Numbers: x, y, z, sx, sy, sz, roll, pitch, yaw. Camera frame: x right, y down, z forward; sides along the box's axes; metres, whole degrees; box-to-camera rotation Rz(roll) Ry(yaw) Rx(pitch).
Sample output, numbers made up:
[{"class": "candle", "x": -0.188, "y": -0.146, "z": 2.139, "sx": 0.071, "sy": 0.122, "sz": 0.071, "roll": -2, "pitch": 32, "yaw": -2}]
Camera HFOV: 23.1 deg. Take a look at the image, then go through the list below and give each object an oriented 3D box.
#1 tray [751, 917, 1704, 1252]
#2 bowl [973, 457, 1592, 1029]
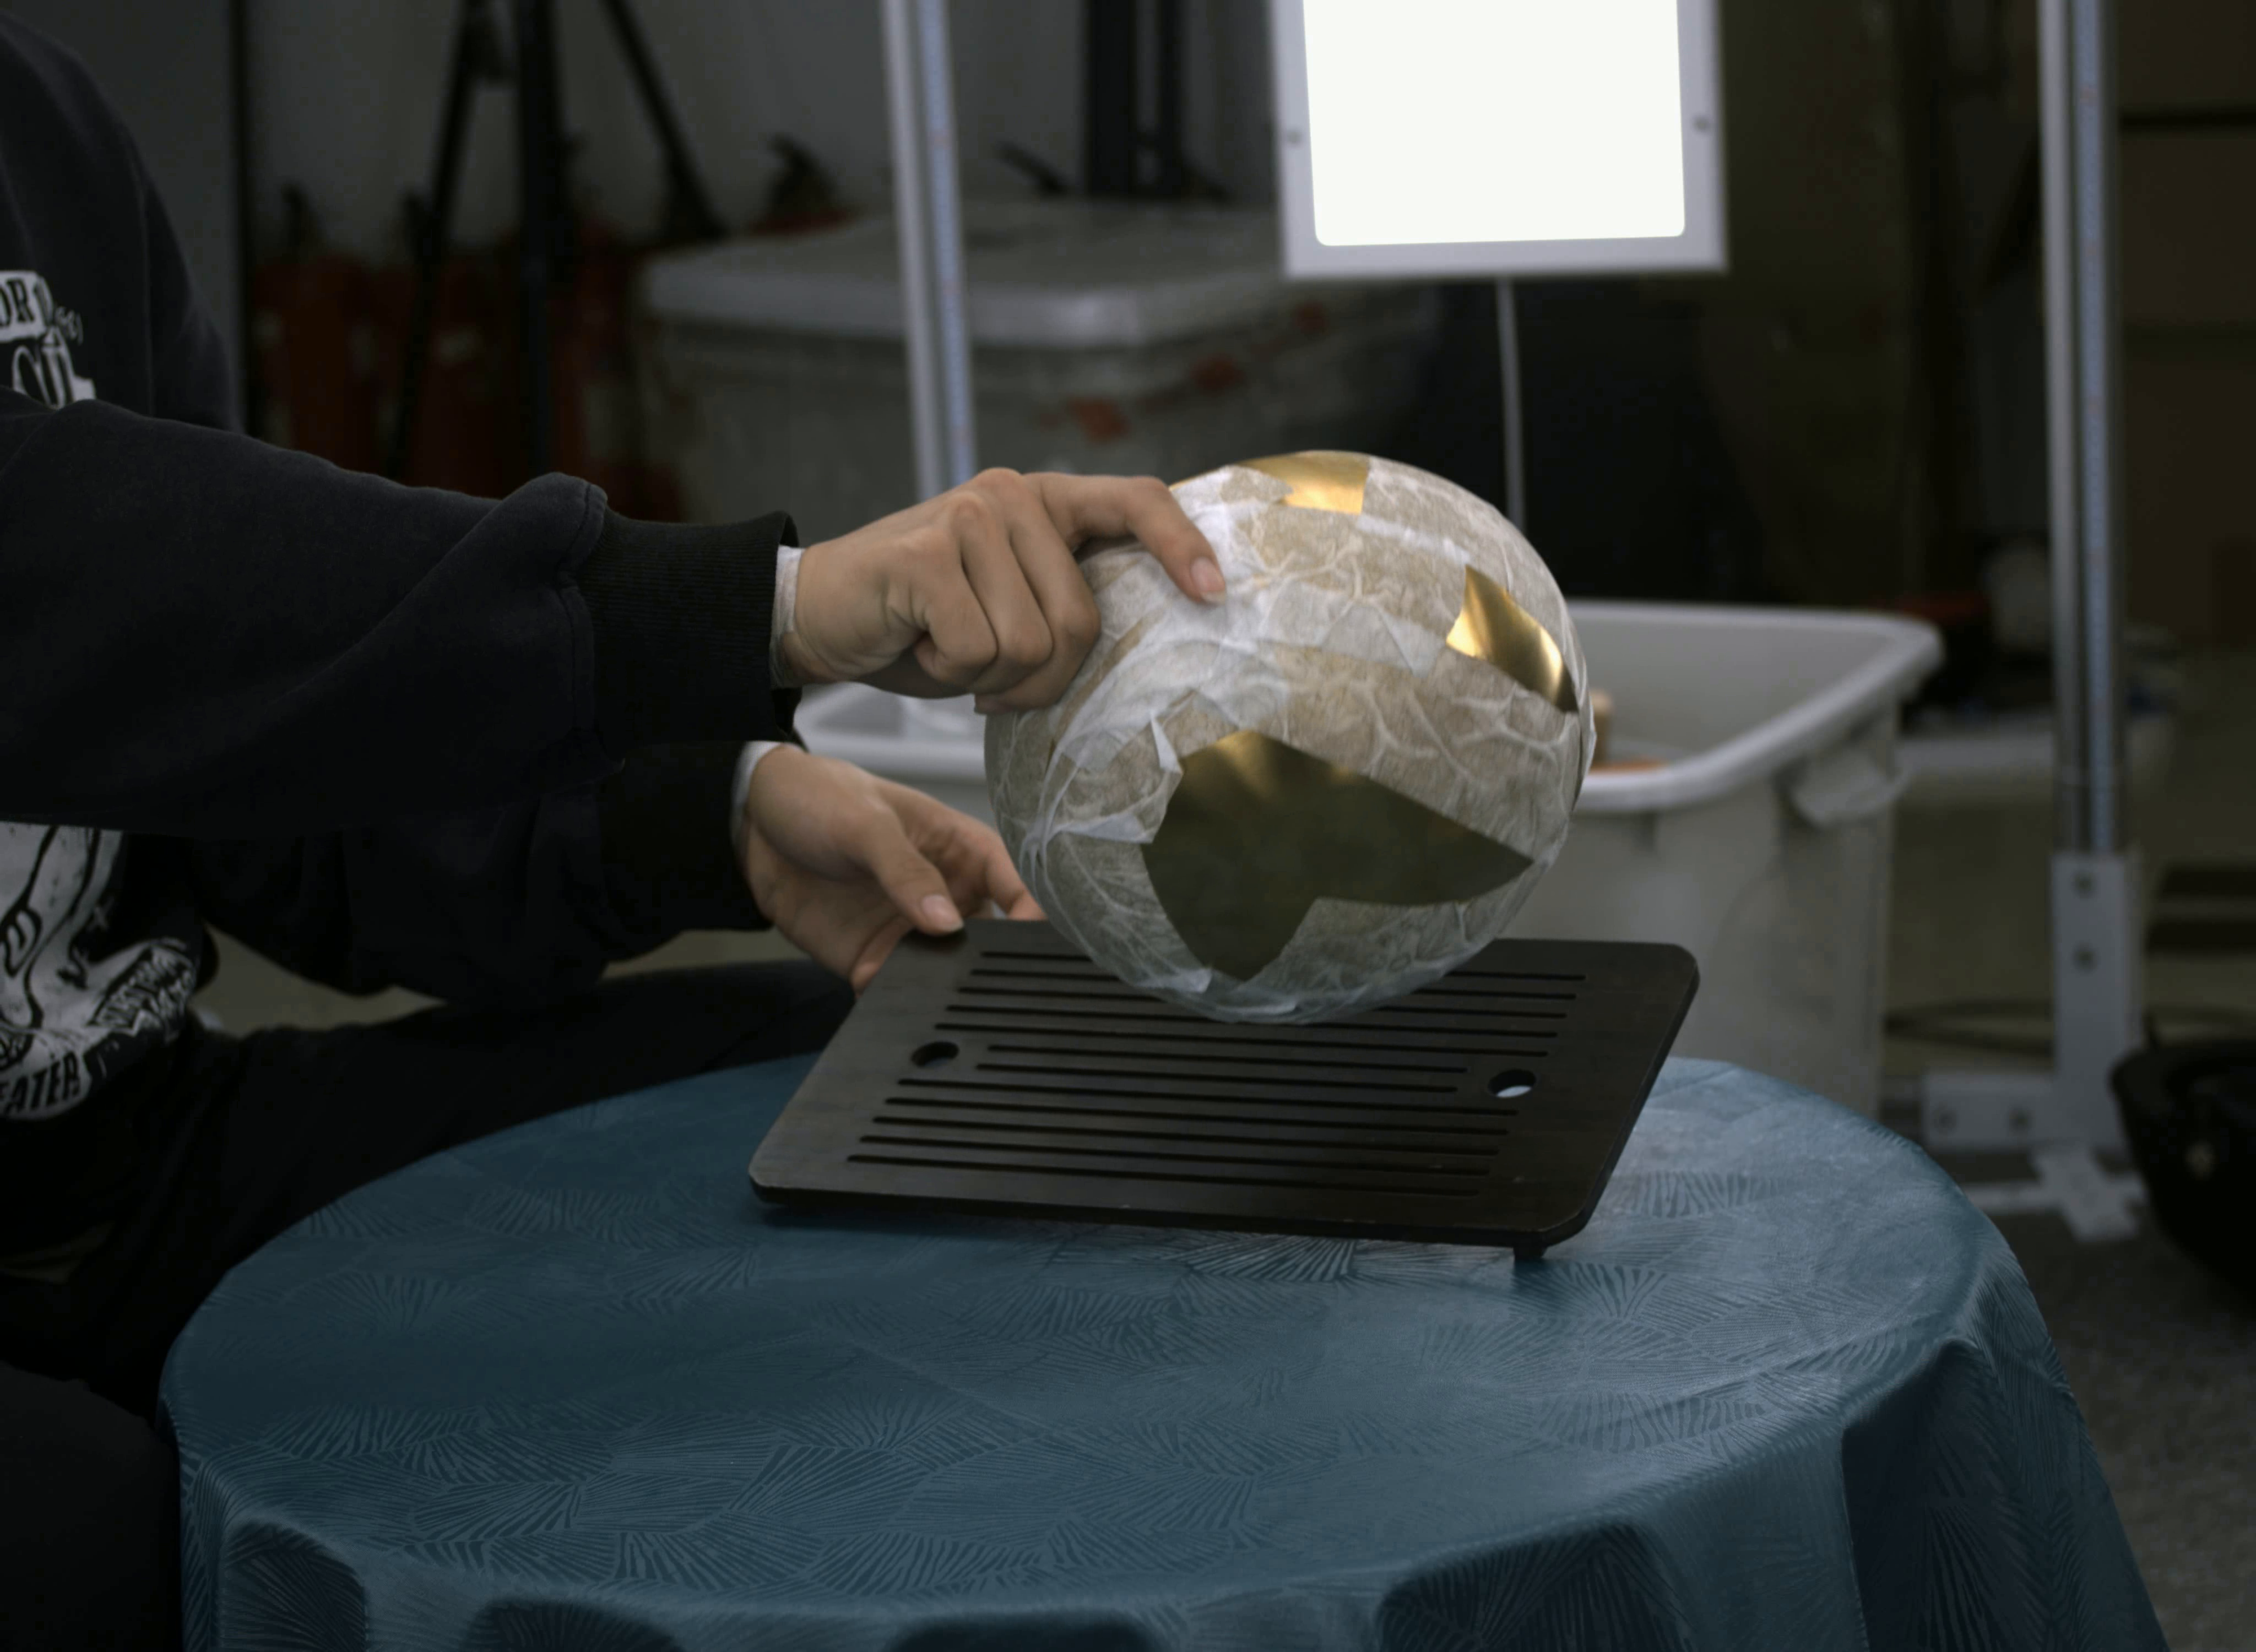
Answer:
[{"class": "tray", "x": 0.035, "y": 0.088, "z": 1.906, "sx": 0.311, "sy": 0.018, "sz": 0.167, "roll": 1, "pitch": 33, "yaw": 25}, {"class": "bowl", "x": 0.056, "y": -0.008, "z": 1.774, "sx": 0.213, "sy": 0.216, "sz": 0.095, "roll": -5, "pitch": 34, "yaw": -6}]
